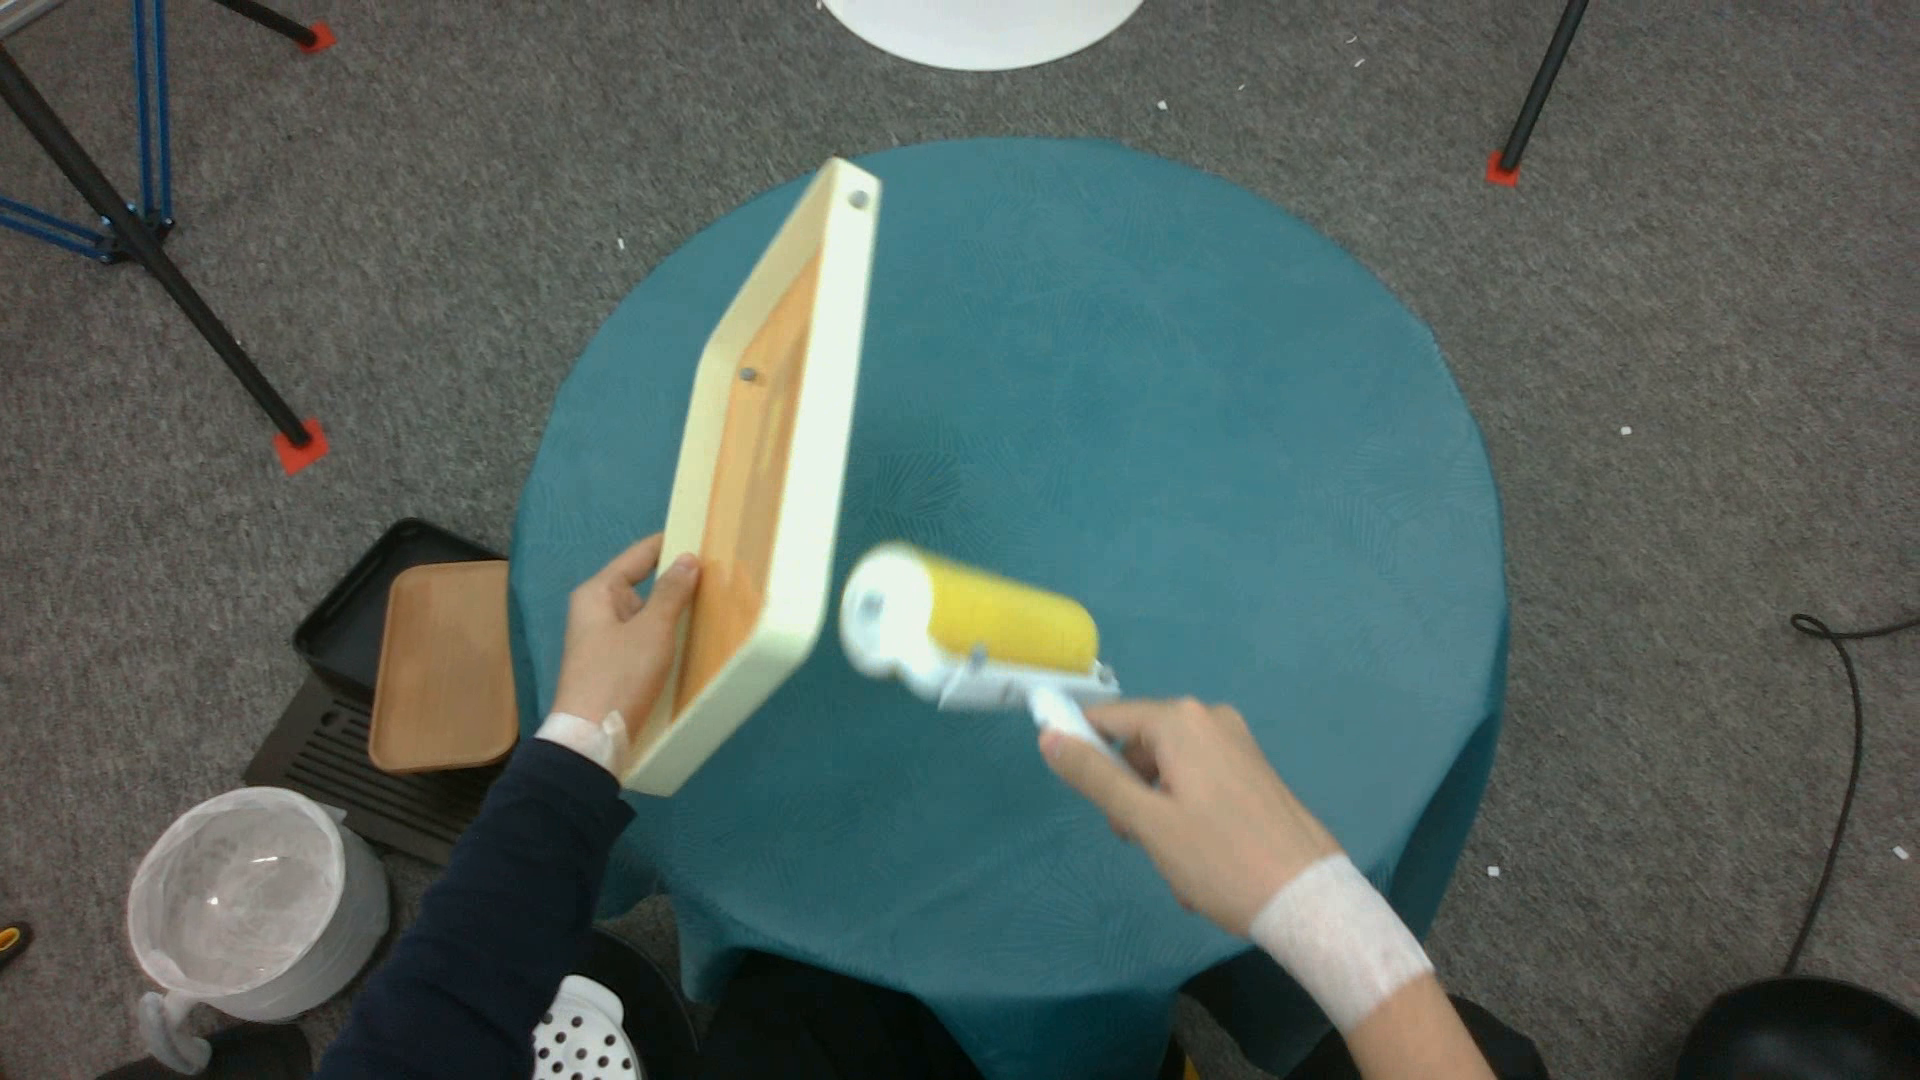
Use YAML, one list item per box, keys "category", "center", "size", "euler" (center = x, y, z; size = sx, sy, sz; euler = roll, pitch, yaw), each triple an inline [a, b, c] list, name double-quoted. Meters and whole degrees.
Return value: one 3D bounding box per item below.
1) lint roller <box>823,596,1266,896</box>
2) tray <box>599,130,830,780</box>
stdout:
- category: "lint roller"
  center: [0.058, 0.082, 0.605]
  size: [0.192, 0.174, 0.051]
  euler: [29, 105, 32]
- category: "tray"
  center: [-0.122, -0.047, 0.699]
  size: [0.027, 0.190, 0.301]
  euler: [18, 52, -22]
